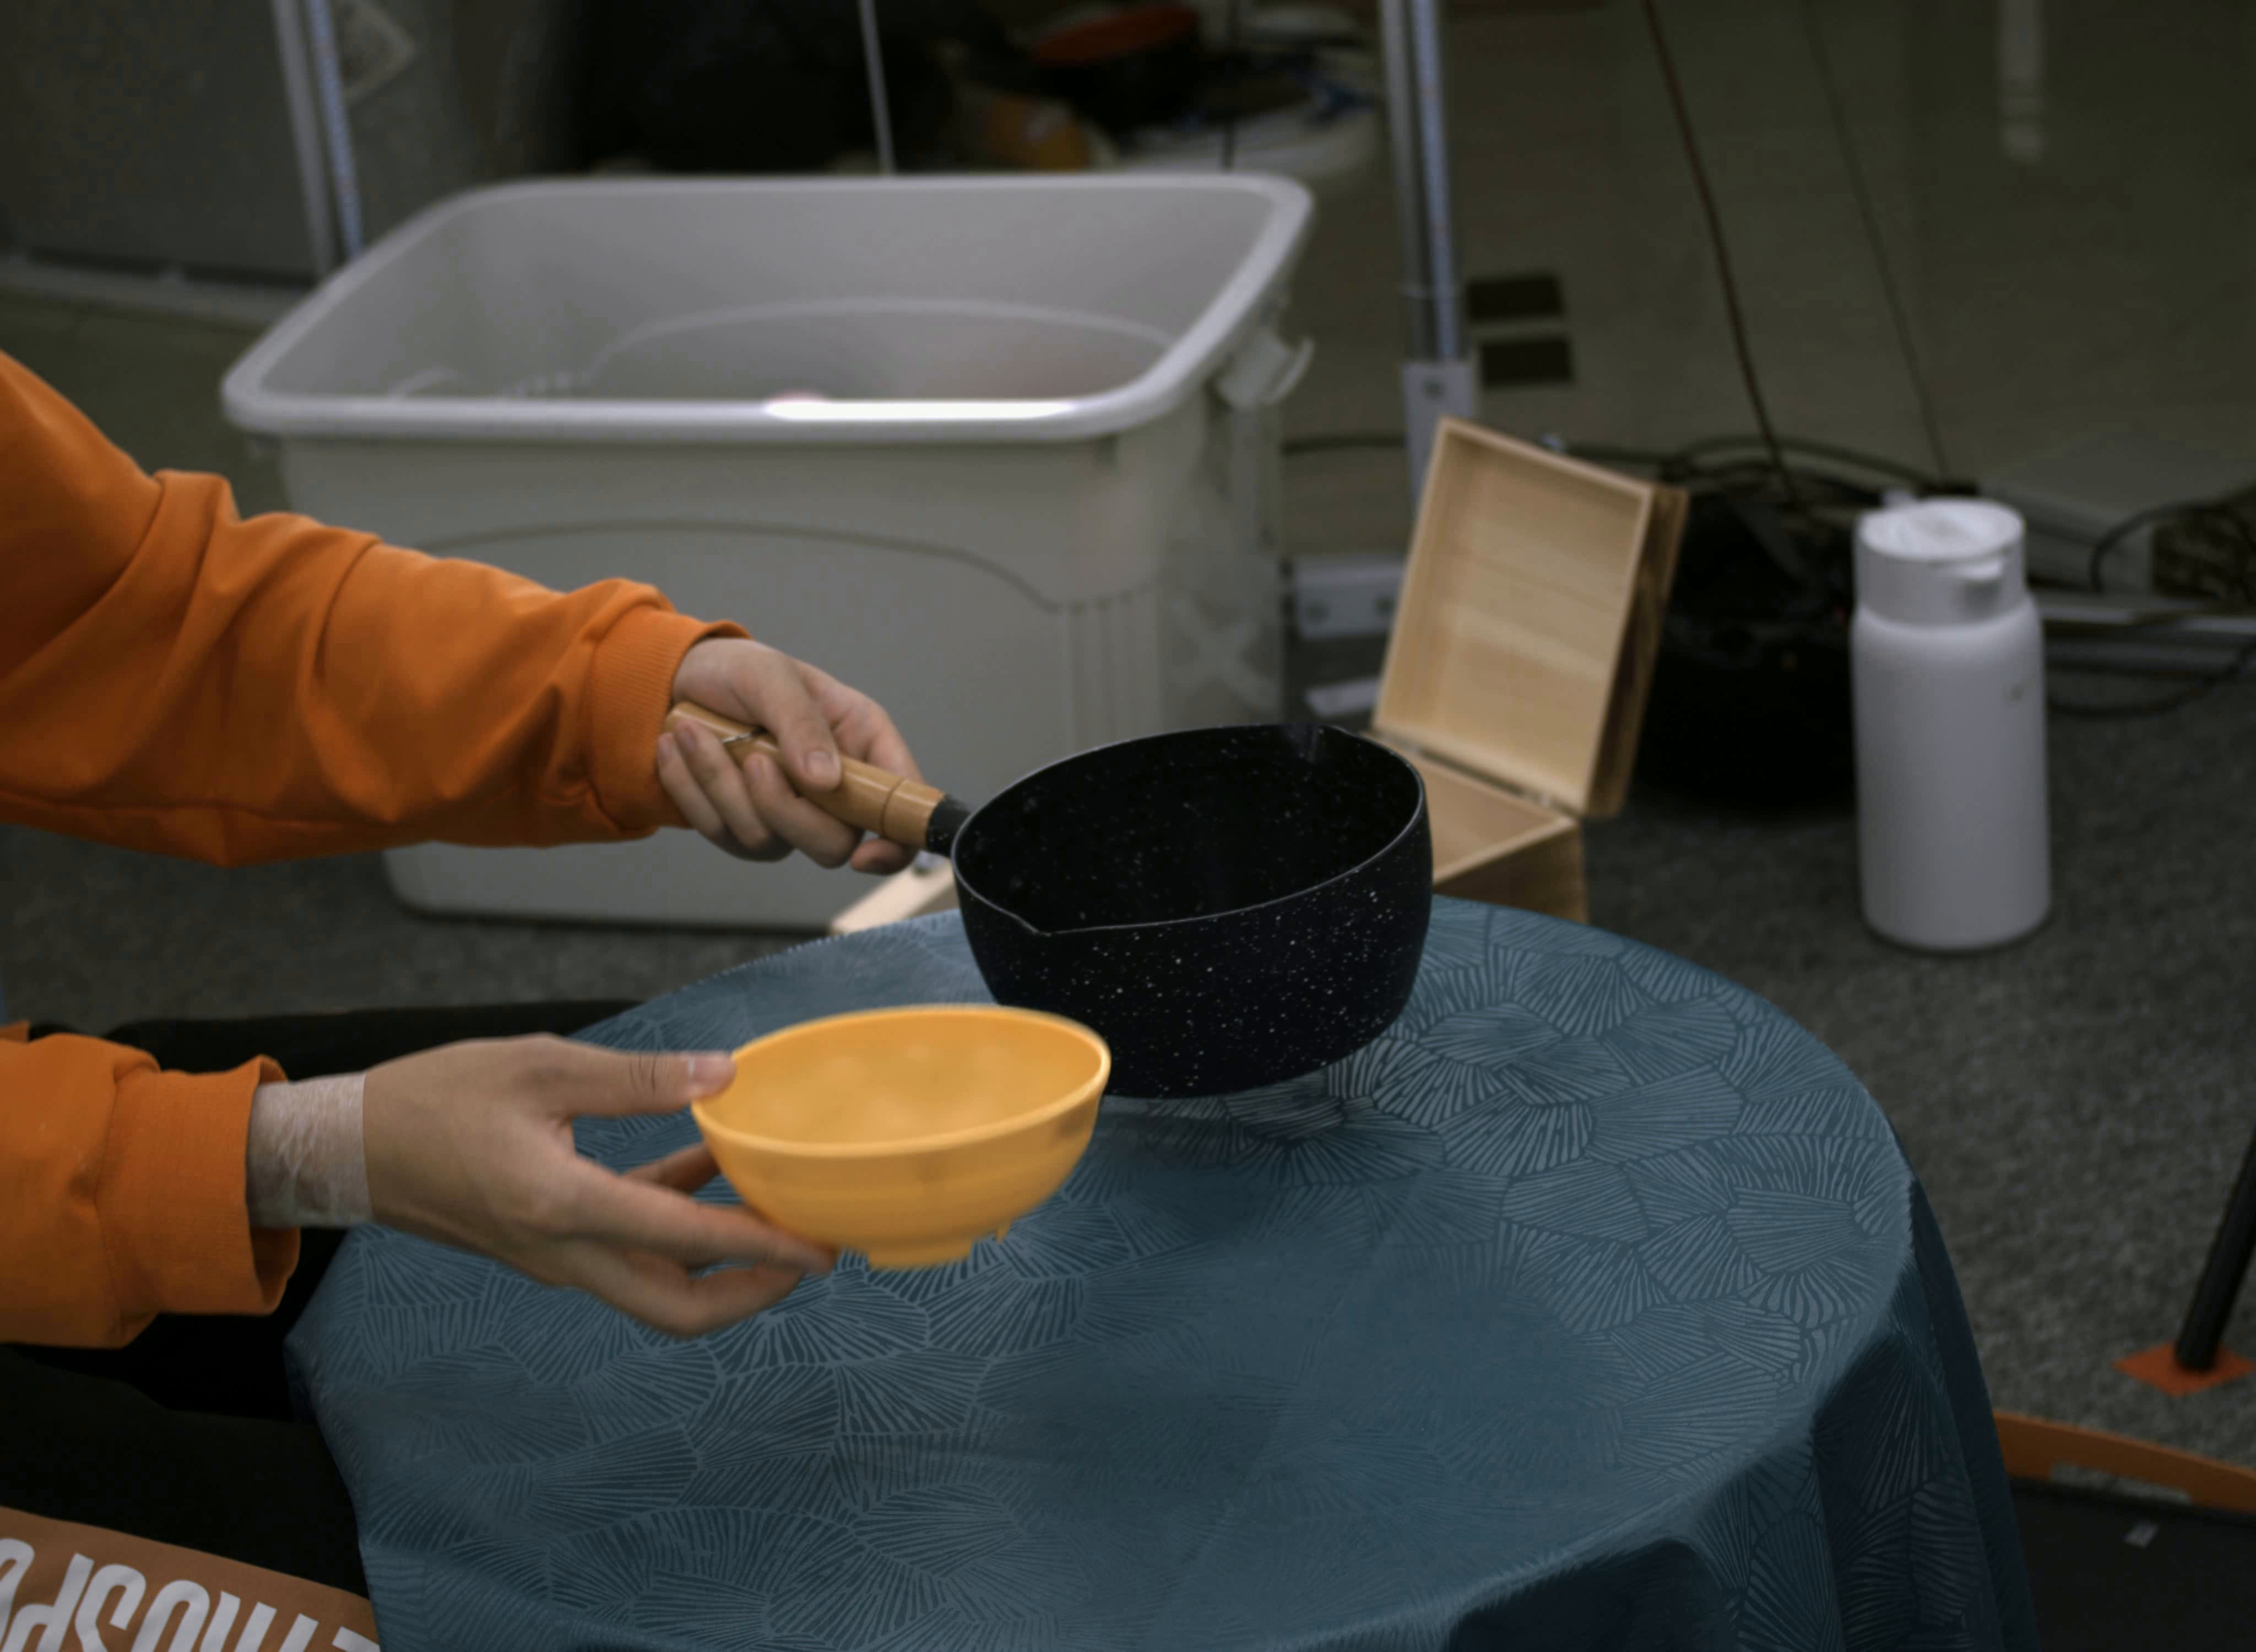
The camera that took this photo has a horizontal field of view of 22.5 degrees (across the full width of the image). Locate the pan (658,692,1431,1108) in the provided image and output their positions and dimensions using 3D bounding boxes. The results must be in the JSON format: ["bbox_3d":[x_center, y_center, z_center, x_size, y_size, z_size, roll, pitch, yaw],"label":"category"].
[{"bbox_3d":[-0.041,0.018,2.215,0.341,0.110,0.205,8,31,32],"label":"pan"}]

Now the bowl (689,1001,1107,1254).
[{"bbox_3d":[-0.077,0.109,1.952,0.145,0.061,0.144,-5,16,1],"label":"bowl"}]
